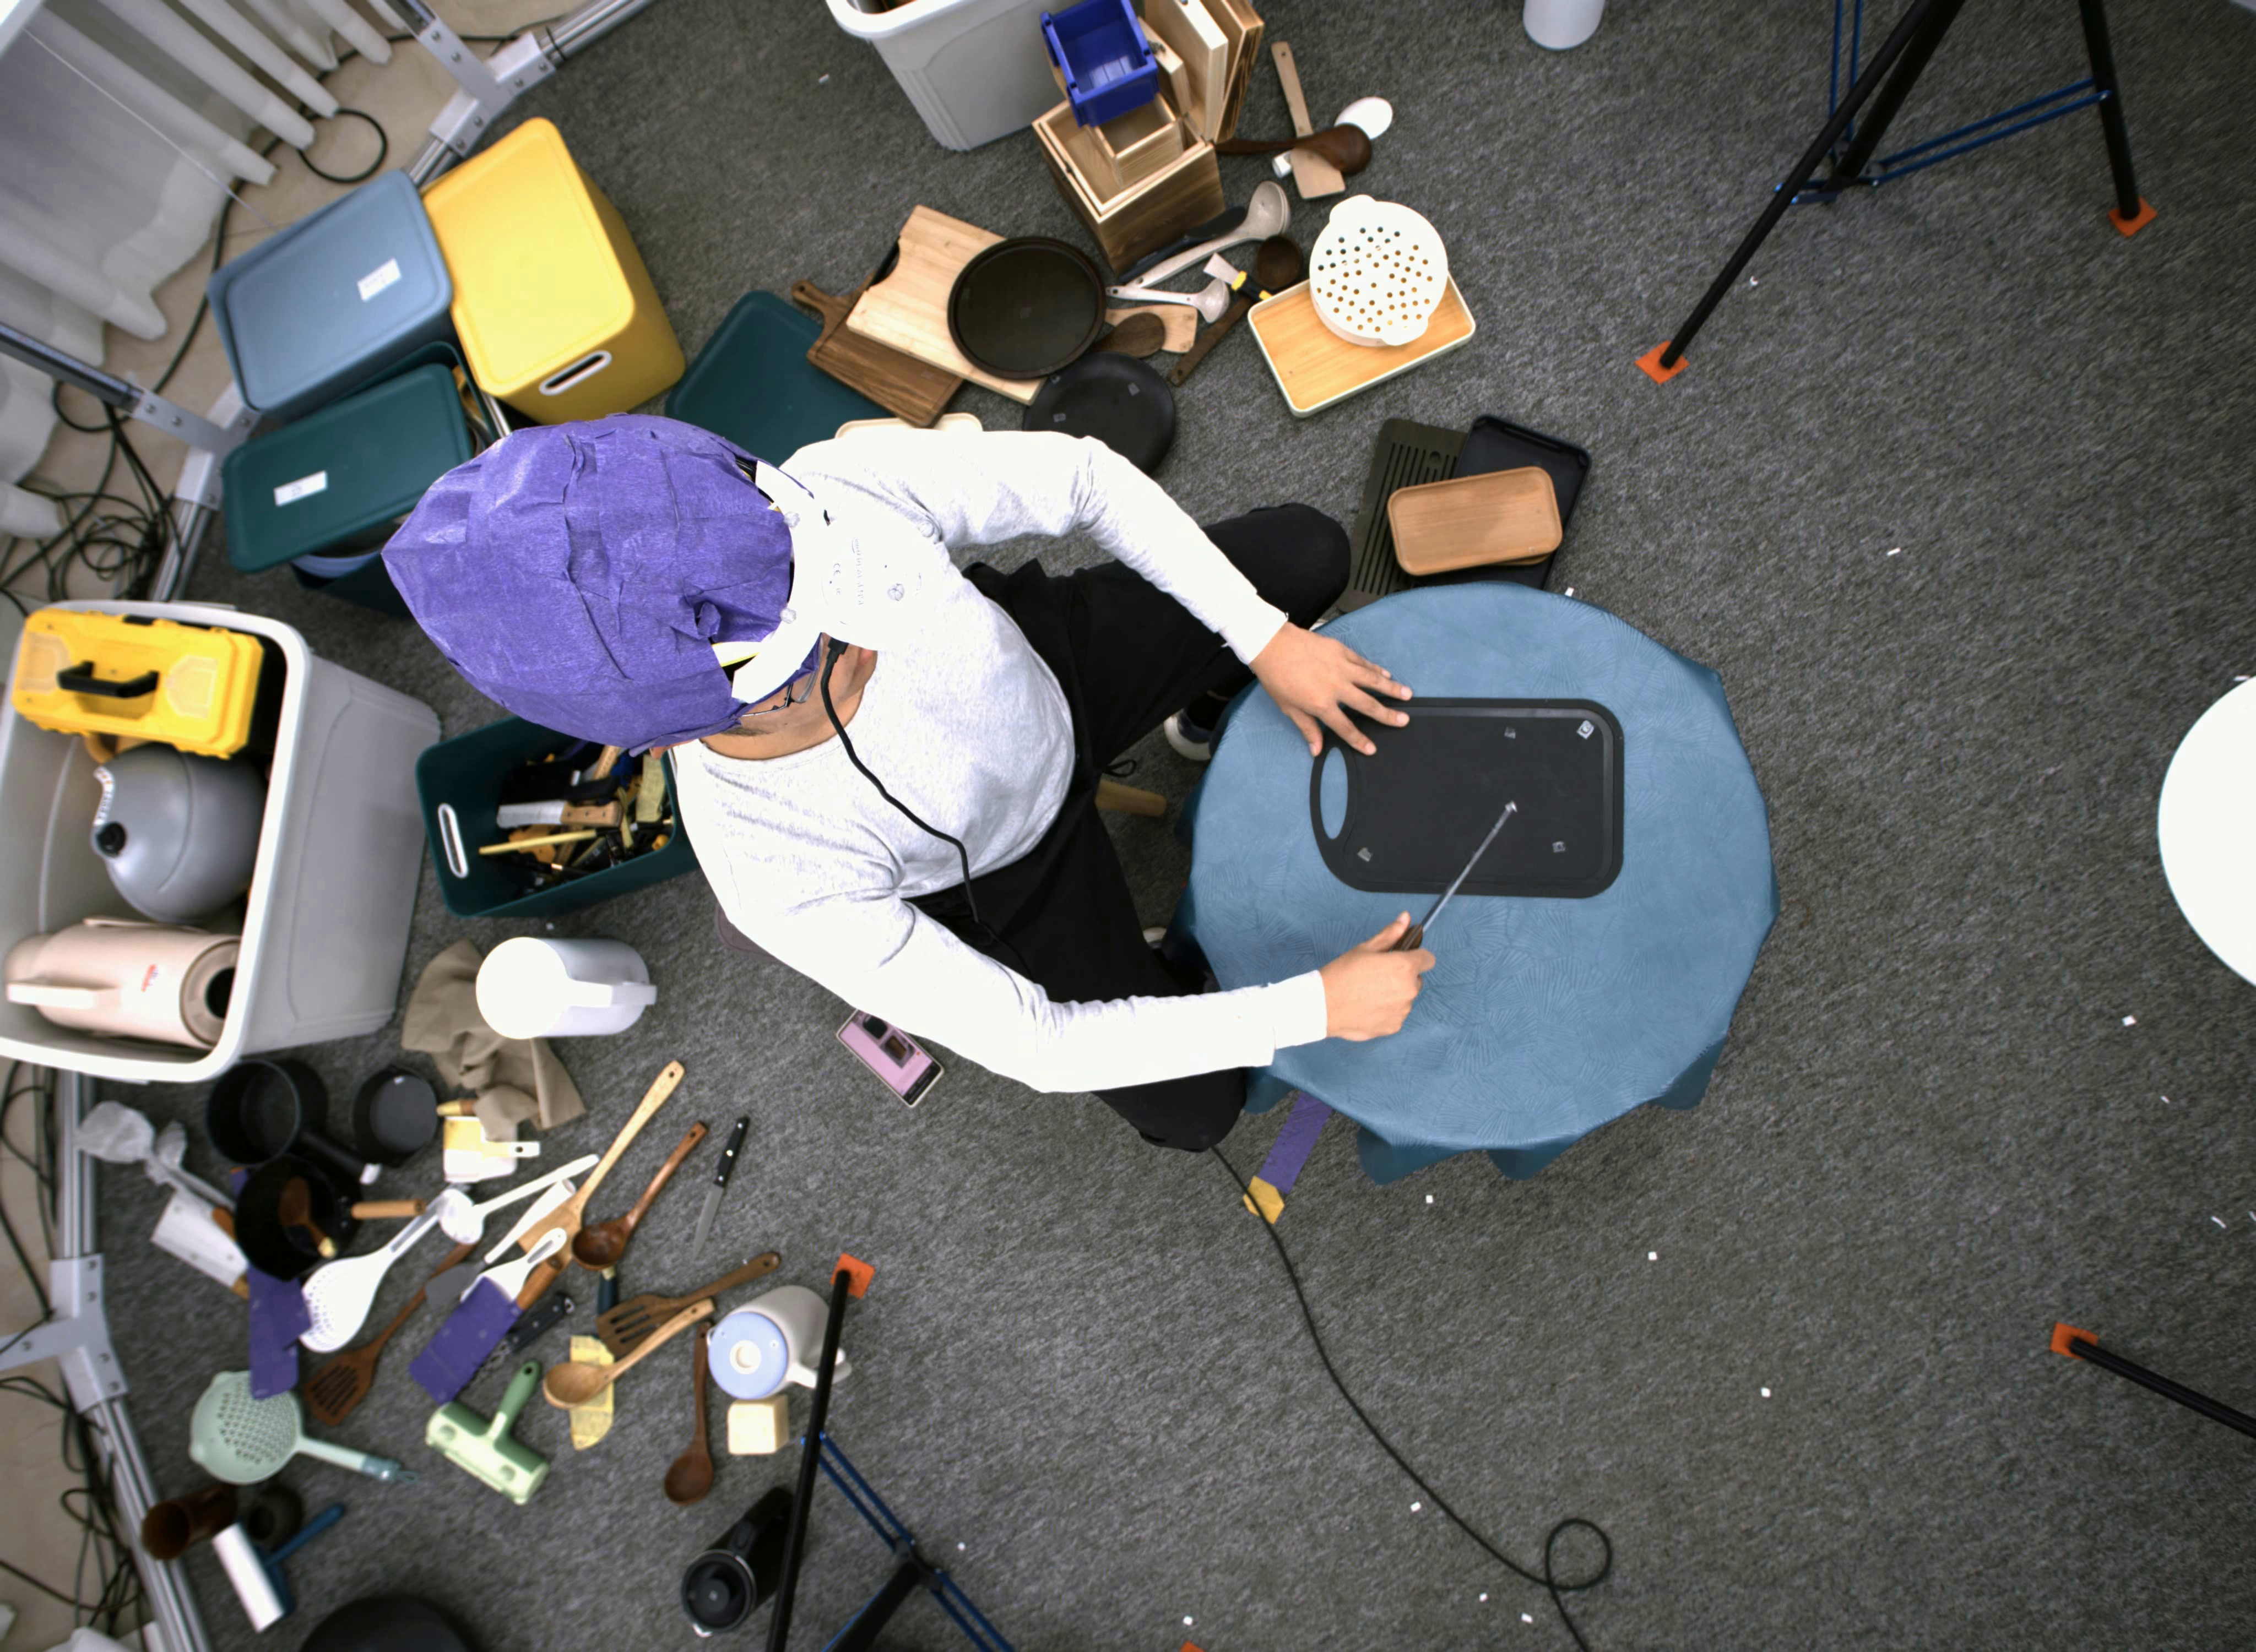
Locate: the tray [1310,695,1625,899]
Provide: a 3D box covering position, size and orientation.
[{"bbox_3d":[0.354,-0.035,1.447,0.326,0.010,0.210,2,87,11],"label":"tray"}]

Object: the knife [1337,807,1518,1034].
[{"bbox_3d":[0.300,0.088,1.358,0.020,0.051,0.287,38,84,18],"label":"knife"}]
